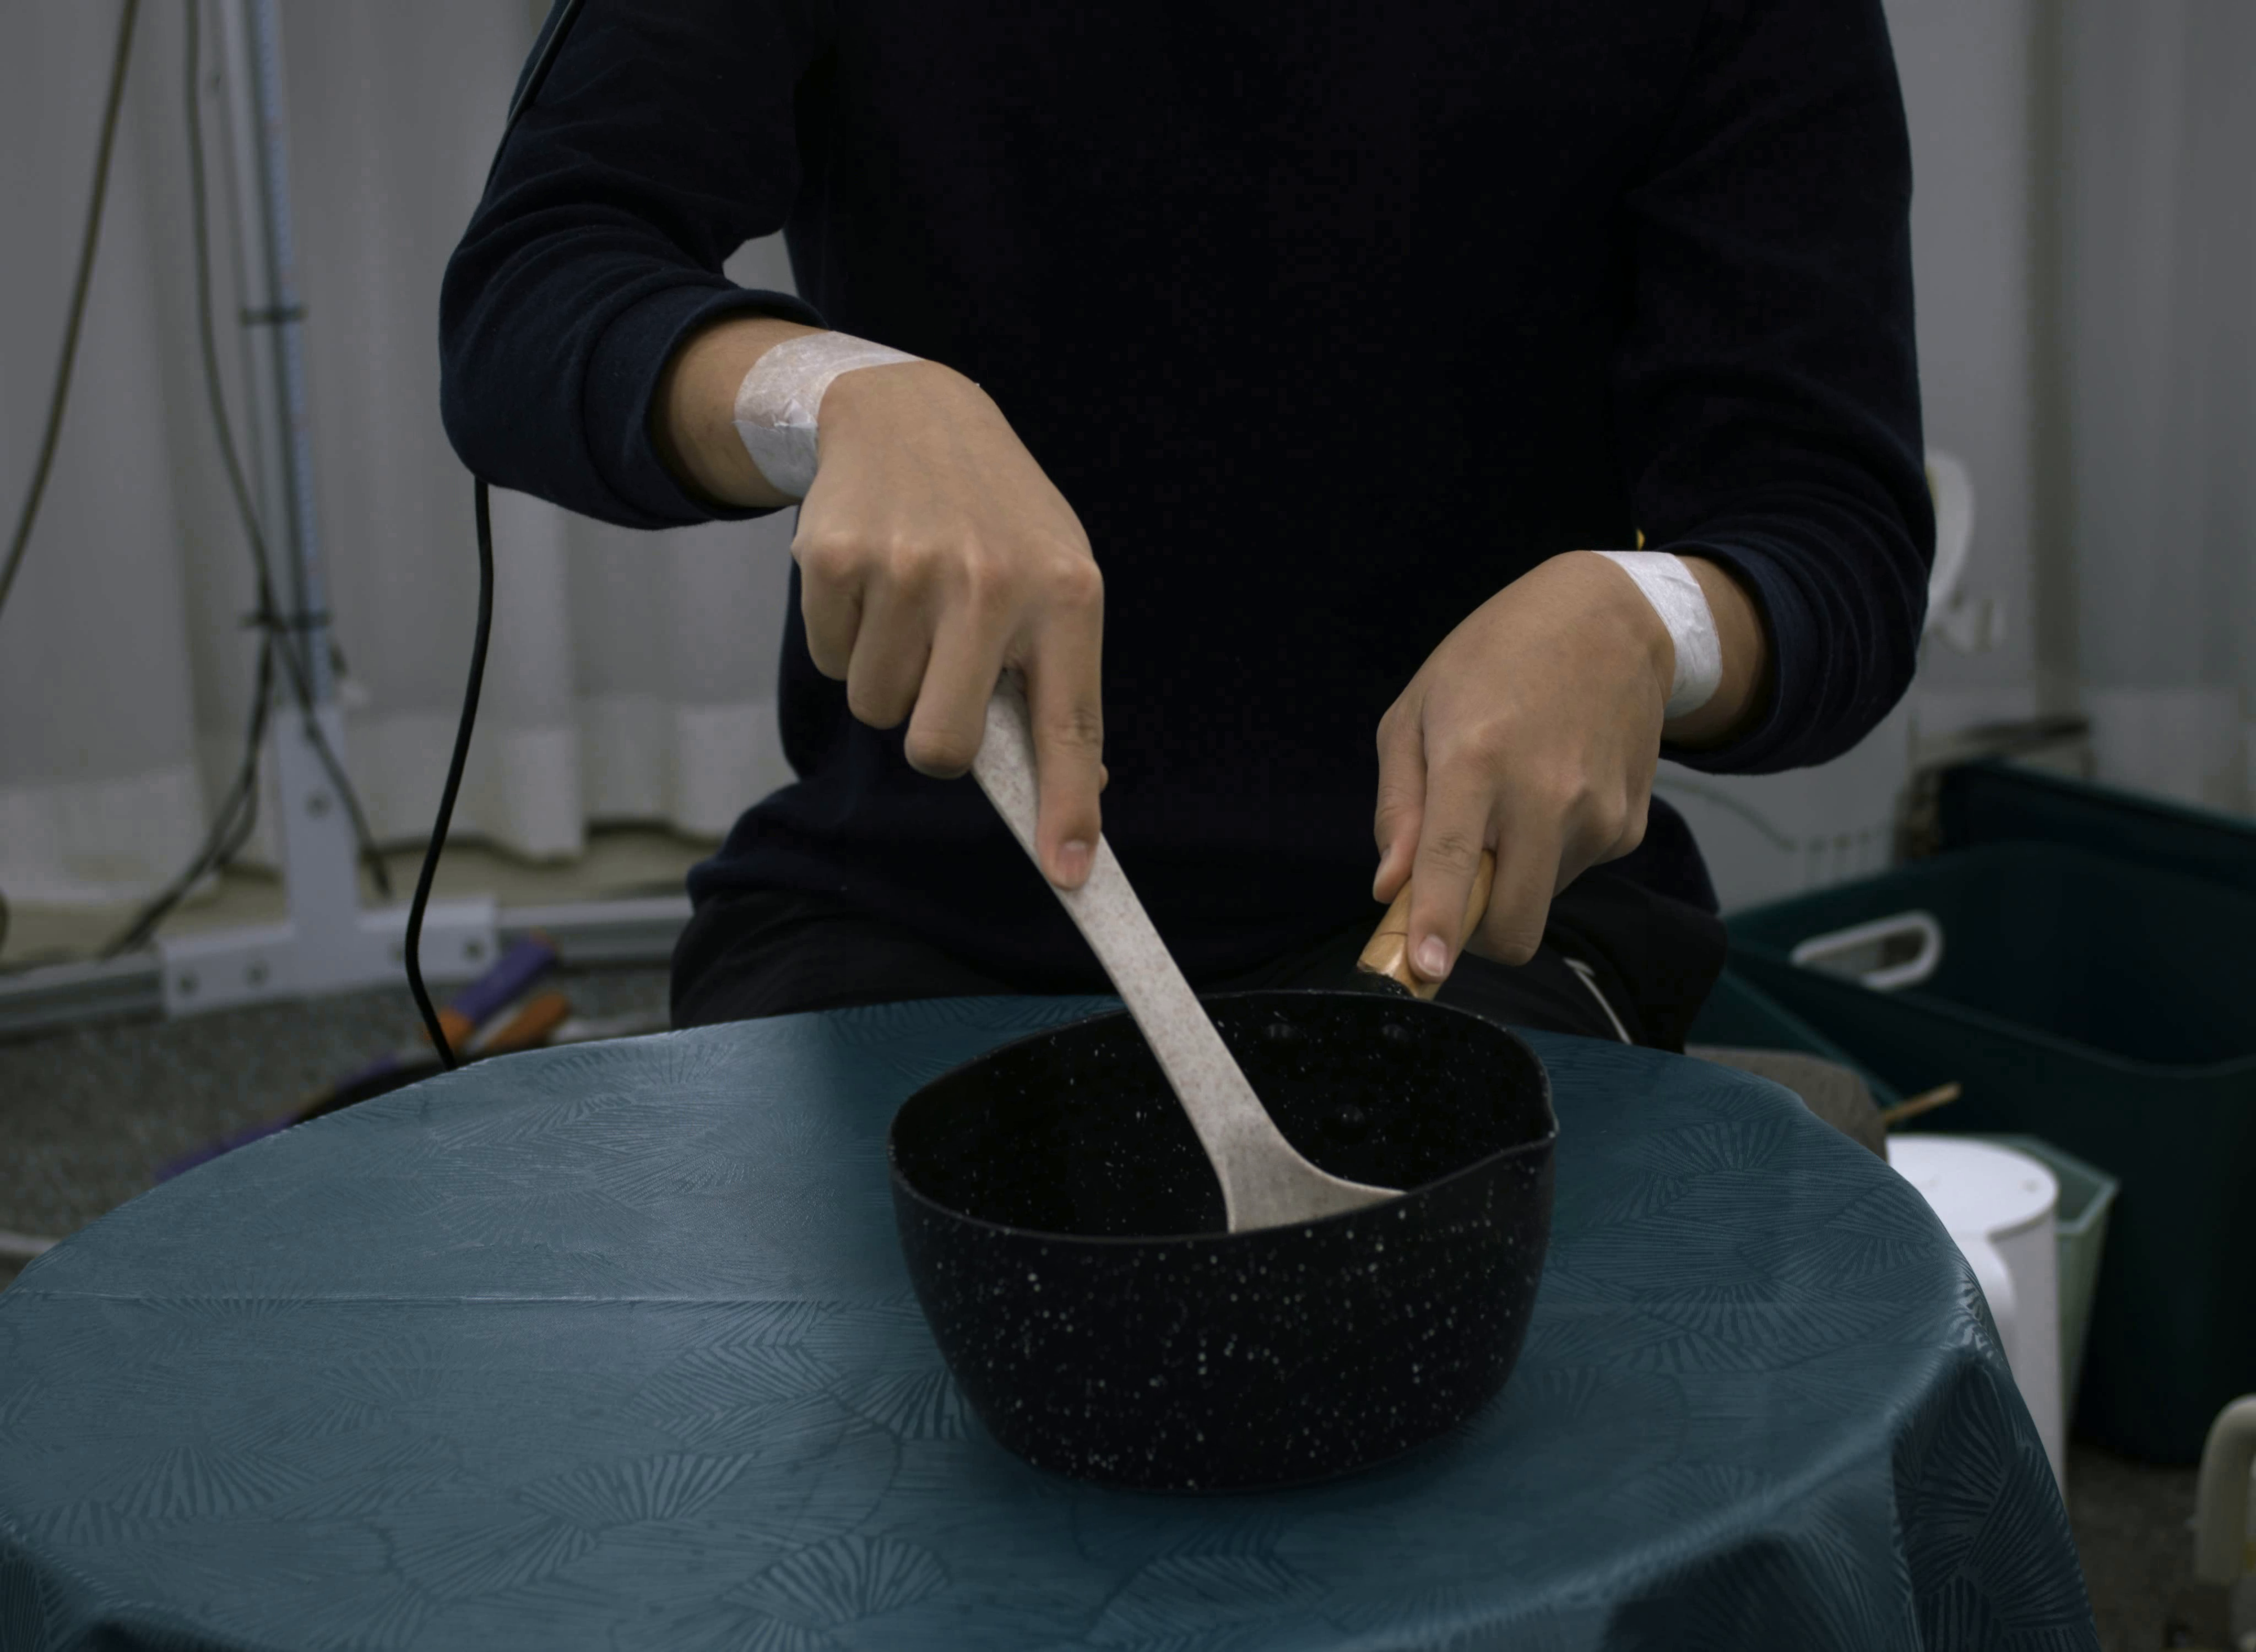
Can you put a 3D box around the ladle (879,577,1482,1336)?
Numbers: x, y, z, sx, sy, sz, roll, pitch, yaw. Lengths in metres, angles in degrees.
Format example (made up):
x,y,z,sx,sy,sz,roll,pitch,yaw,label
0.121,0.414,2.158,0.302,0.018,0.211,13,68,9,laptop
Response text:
x,y,z,sx,sy,sz,roll,pitch,yaw,label
0.011,0.036,1.525,0.089,0.276,0.069,-27,-11,-21,ladle

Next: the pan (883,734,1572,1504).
x,y,z,sx,sy,sz,roll,pitch,yaw,label
0.058,0.080,1.585,0.207,0.107,0.344,0,21,24,pan
